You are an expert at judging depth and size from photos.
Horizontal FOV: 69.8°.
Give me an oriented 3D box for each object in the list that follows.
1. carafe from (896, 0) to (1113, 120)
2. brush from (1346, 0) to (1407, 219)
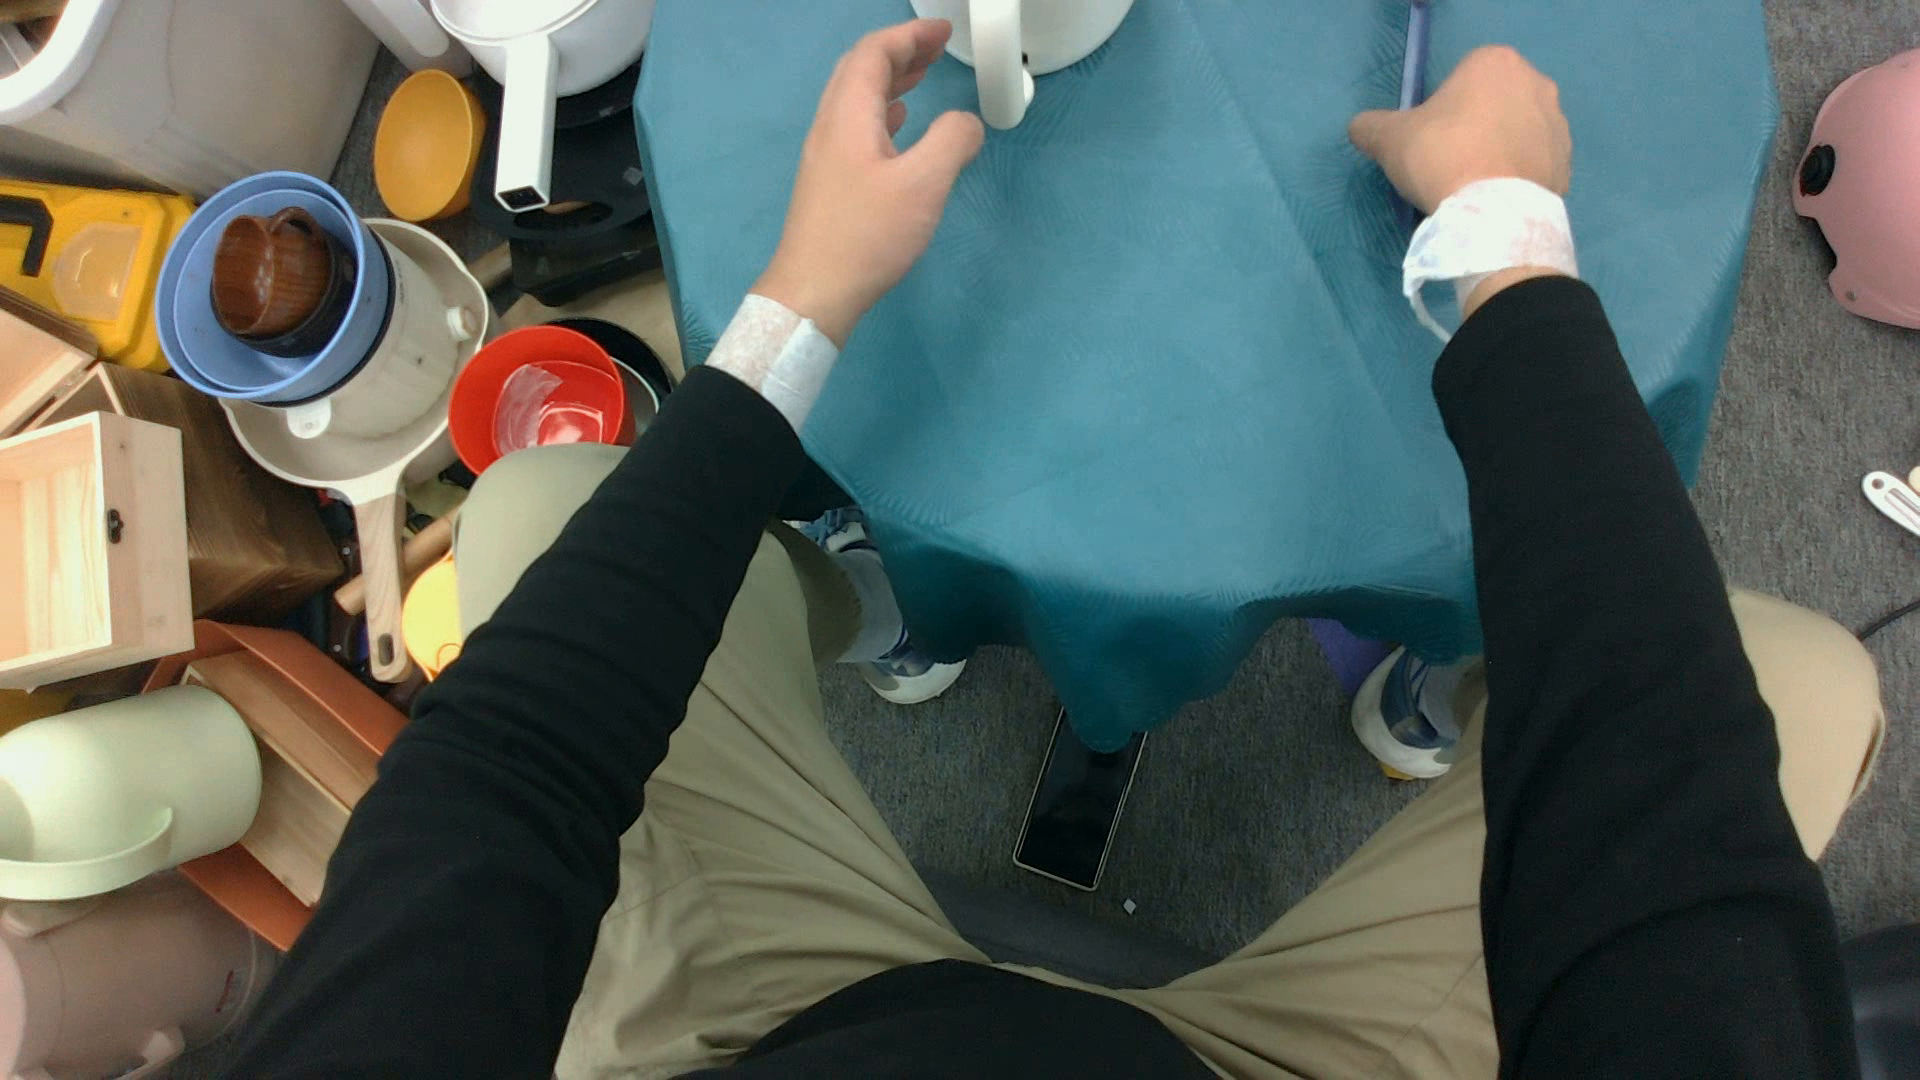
[{"bbox_3d":[0.018,-0.307,0.673,0.132,0.182,0.191,2,82,5],"label":"carafe"},{"bbox_3d":[0.236,-0.297,0.719,0.095,0.033,0.274,0,75,8],"label":"brush"}]
